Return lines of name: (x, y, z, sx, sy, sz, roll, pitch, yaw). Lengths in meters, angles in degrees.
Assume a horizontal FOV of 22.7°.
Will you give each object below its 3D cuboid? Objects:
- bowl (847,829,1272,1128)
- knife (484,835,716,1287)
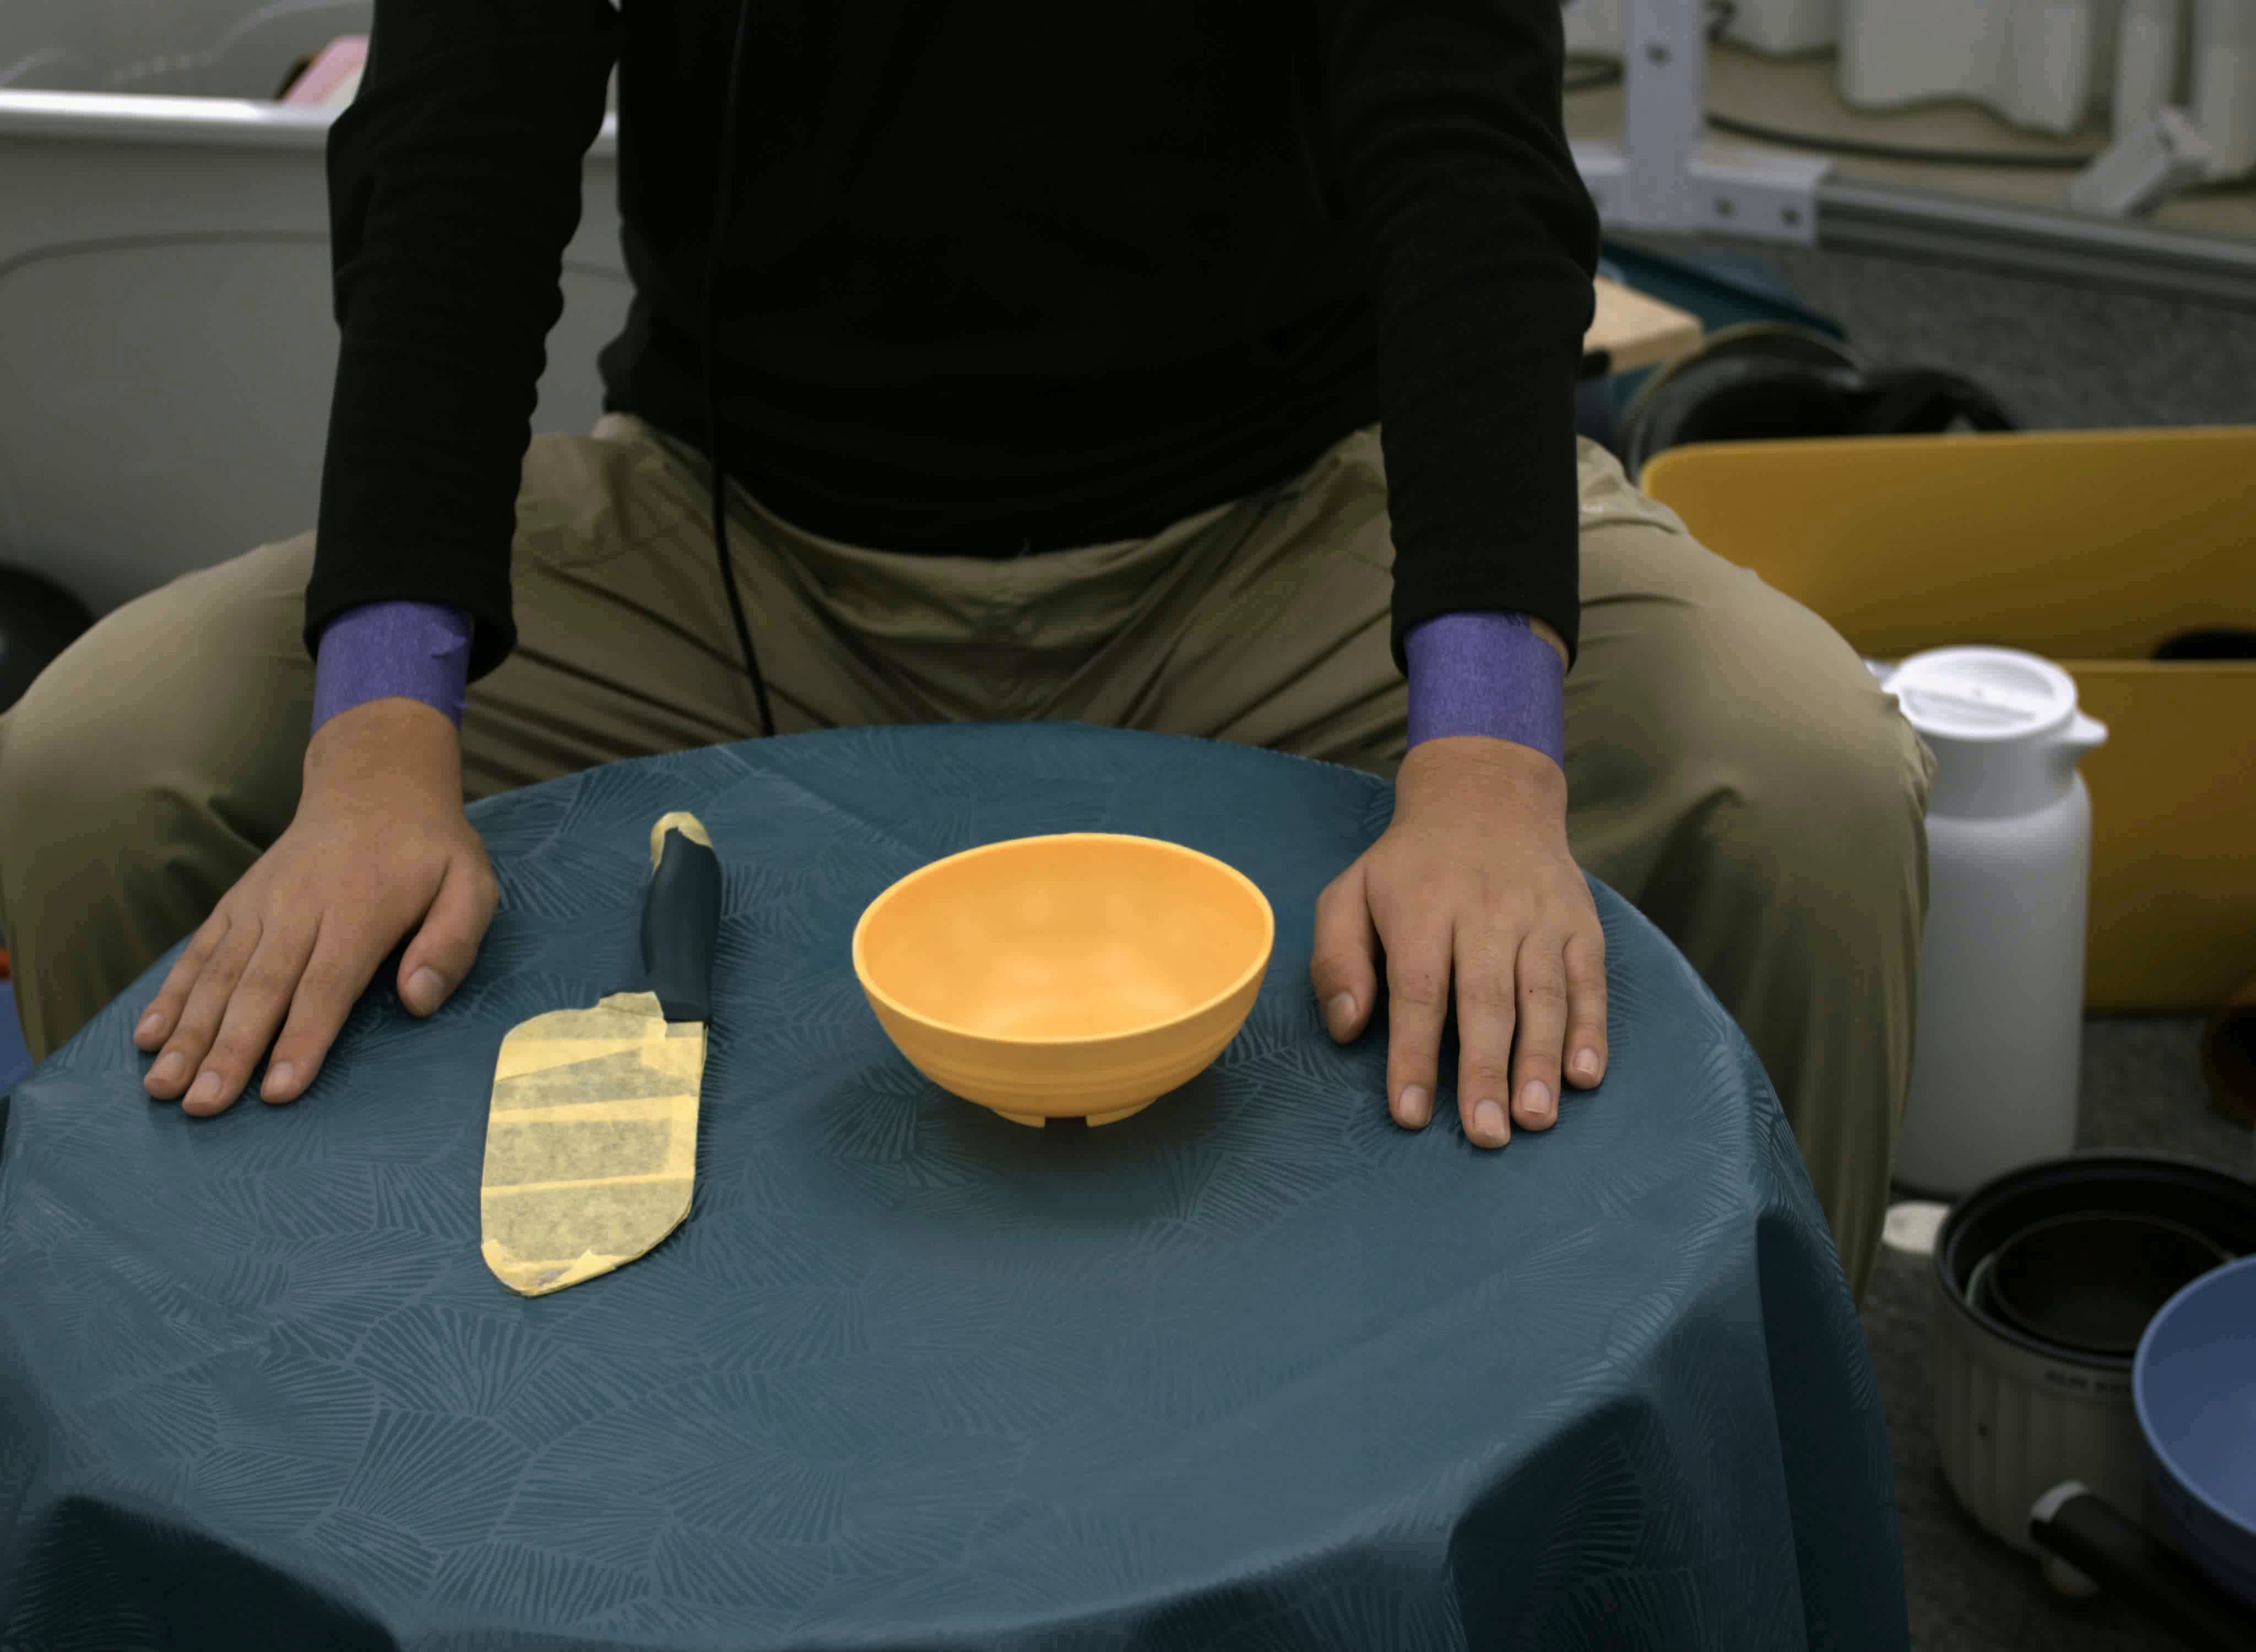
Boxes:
bowl: (-0.023, 0.061, 1.915, 0.144, 0.059, 0.147, 0, 28, 0)
knife: (-0.180, 0.080, 1.943, 0.080, 0.027, 0.294, 0, 28, 2)
